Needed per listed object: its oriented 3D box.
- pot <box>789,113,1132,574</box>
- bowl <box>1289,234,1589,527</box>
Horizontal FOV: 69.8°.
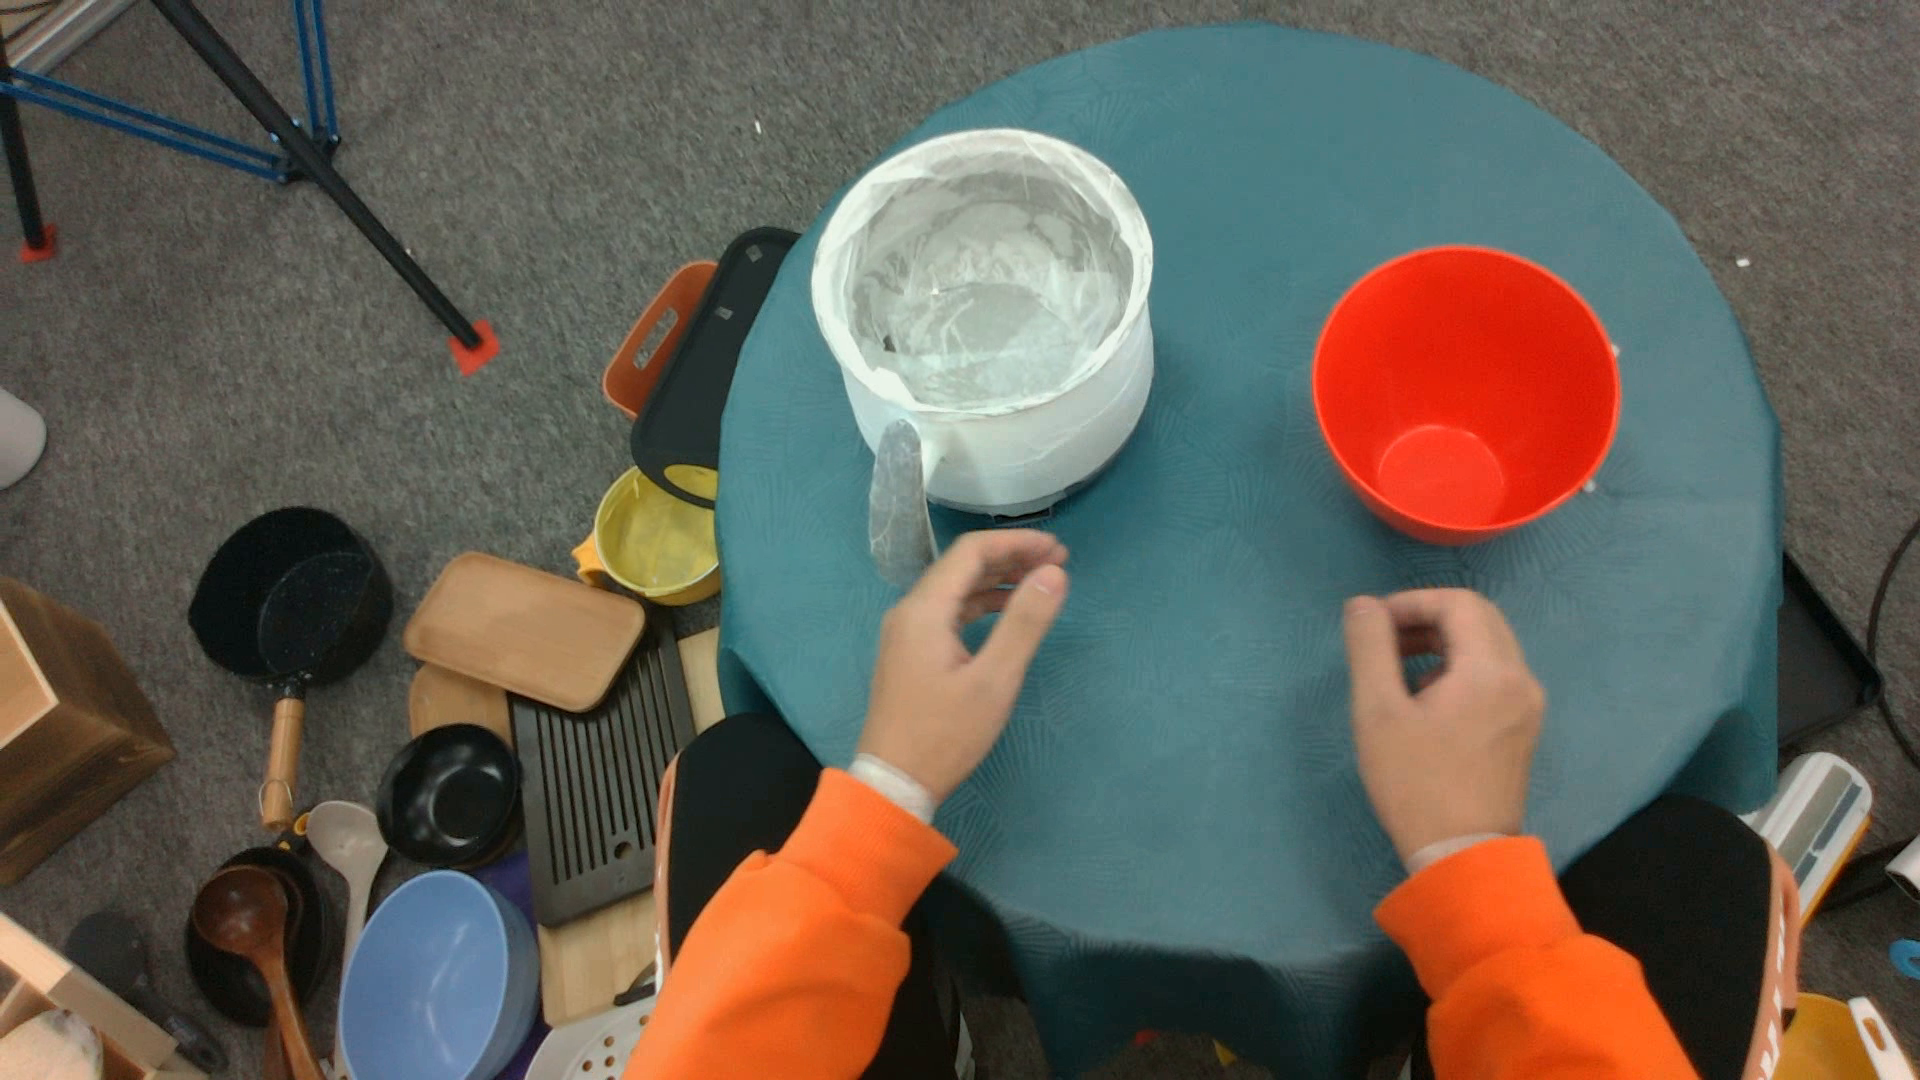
[{"bbox_3d":[-0.003,-0.100,0.755,0.178,0.136,0.234,16,69,15],"label":"pot"},{"bbox_3d":[0.247,-0.071,0.734,0.148,0.104,0.148,-3,67,7],"label":"bowl"}]
